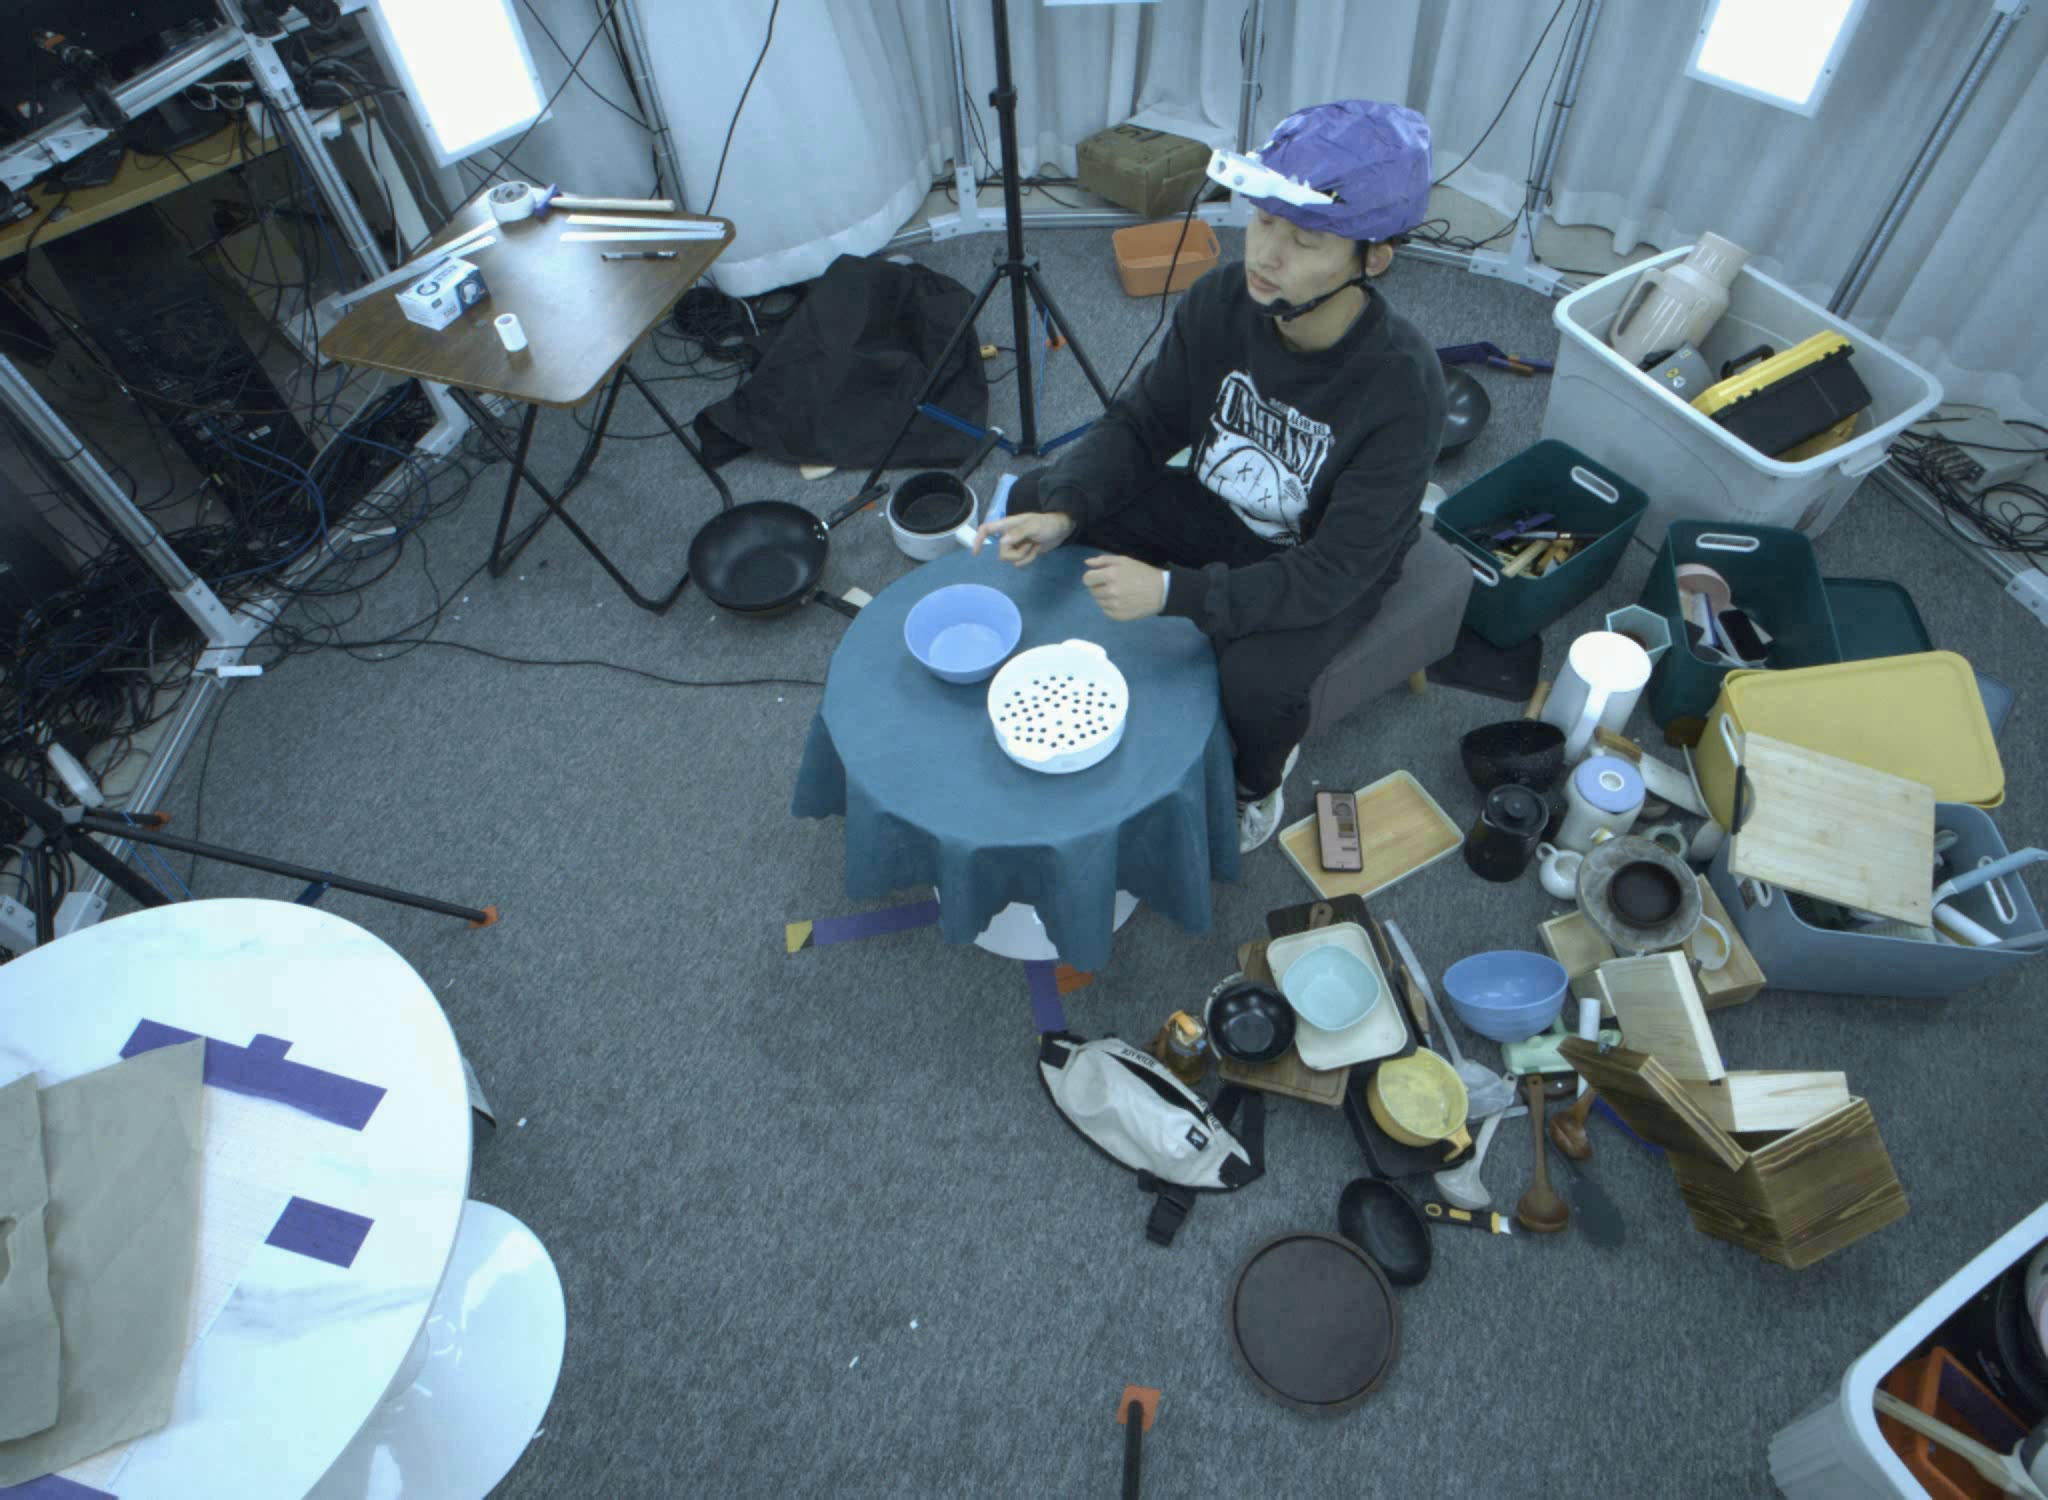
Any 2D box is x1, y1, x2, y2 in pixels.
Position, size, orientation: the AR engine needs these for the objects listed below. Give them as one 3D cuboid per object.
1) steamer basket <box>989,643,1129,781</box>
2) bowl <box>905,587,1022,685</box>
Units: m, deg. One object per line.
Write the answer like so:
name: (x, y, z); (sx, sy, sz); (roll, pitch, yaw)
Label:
steamer basket: (0.051, -0.050, 1.789); (0.200, 0.070, 0.230); (18, 60, 14)
bowl: (-0.090, -0.164, 1.872); (0.176, 0.071, 0.174); (0, 55, 1)
